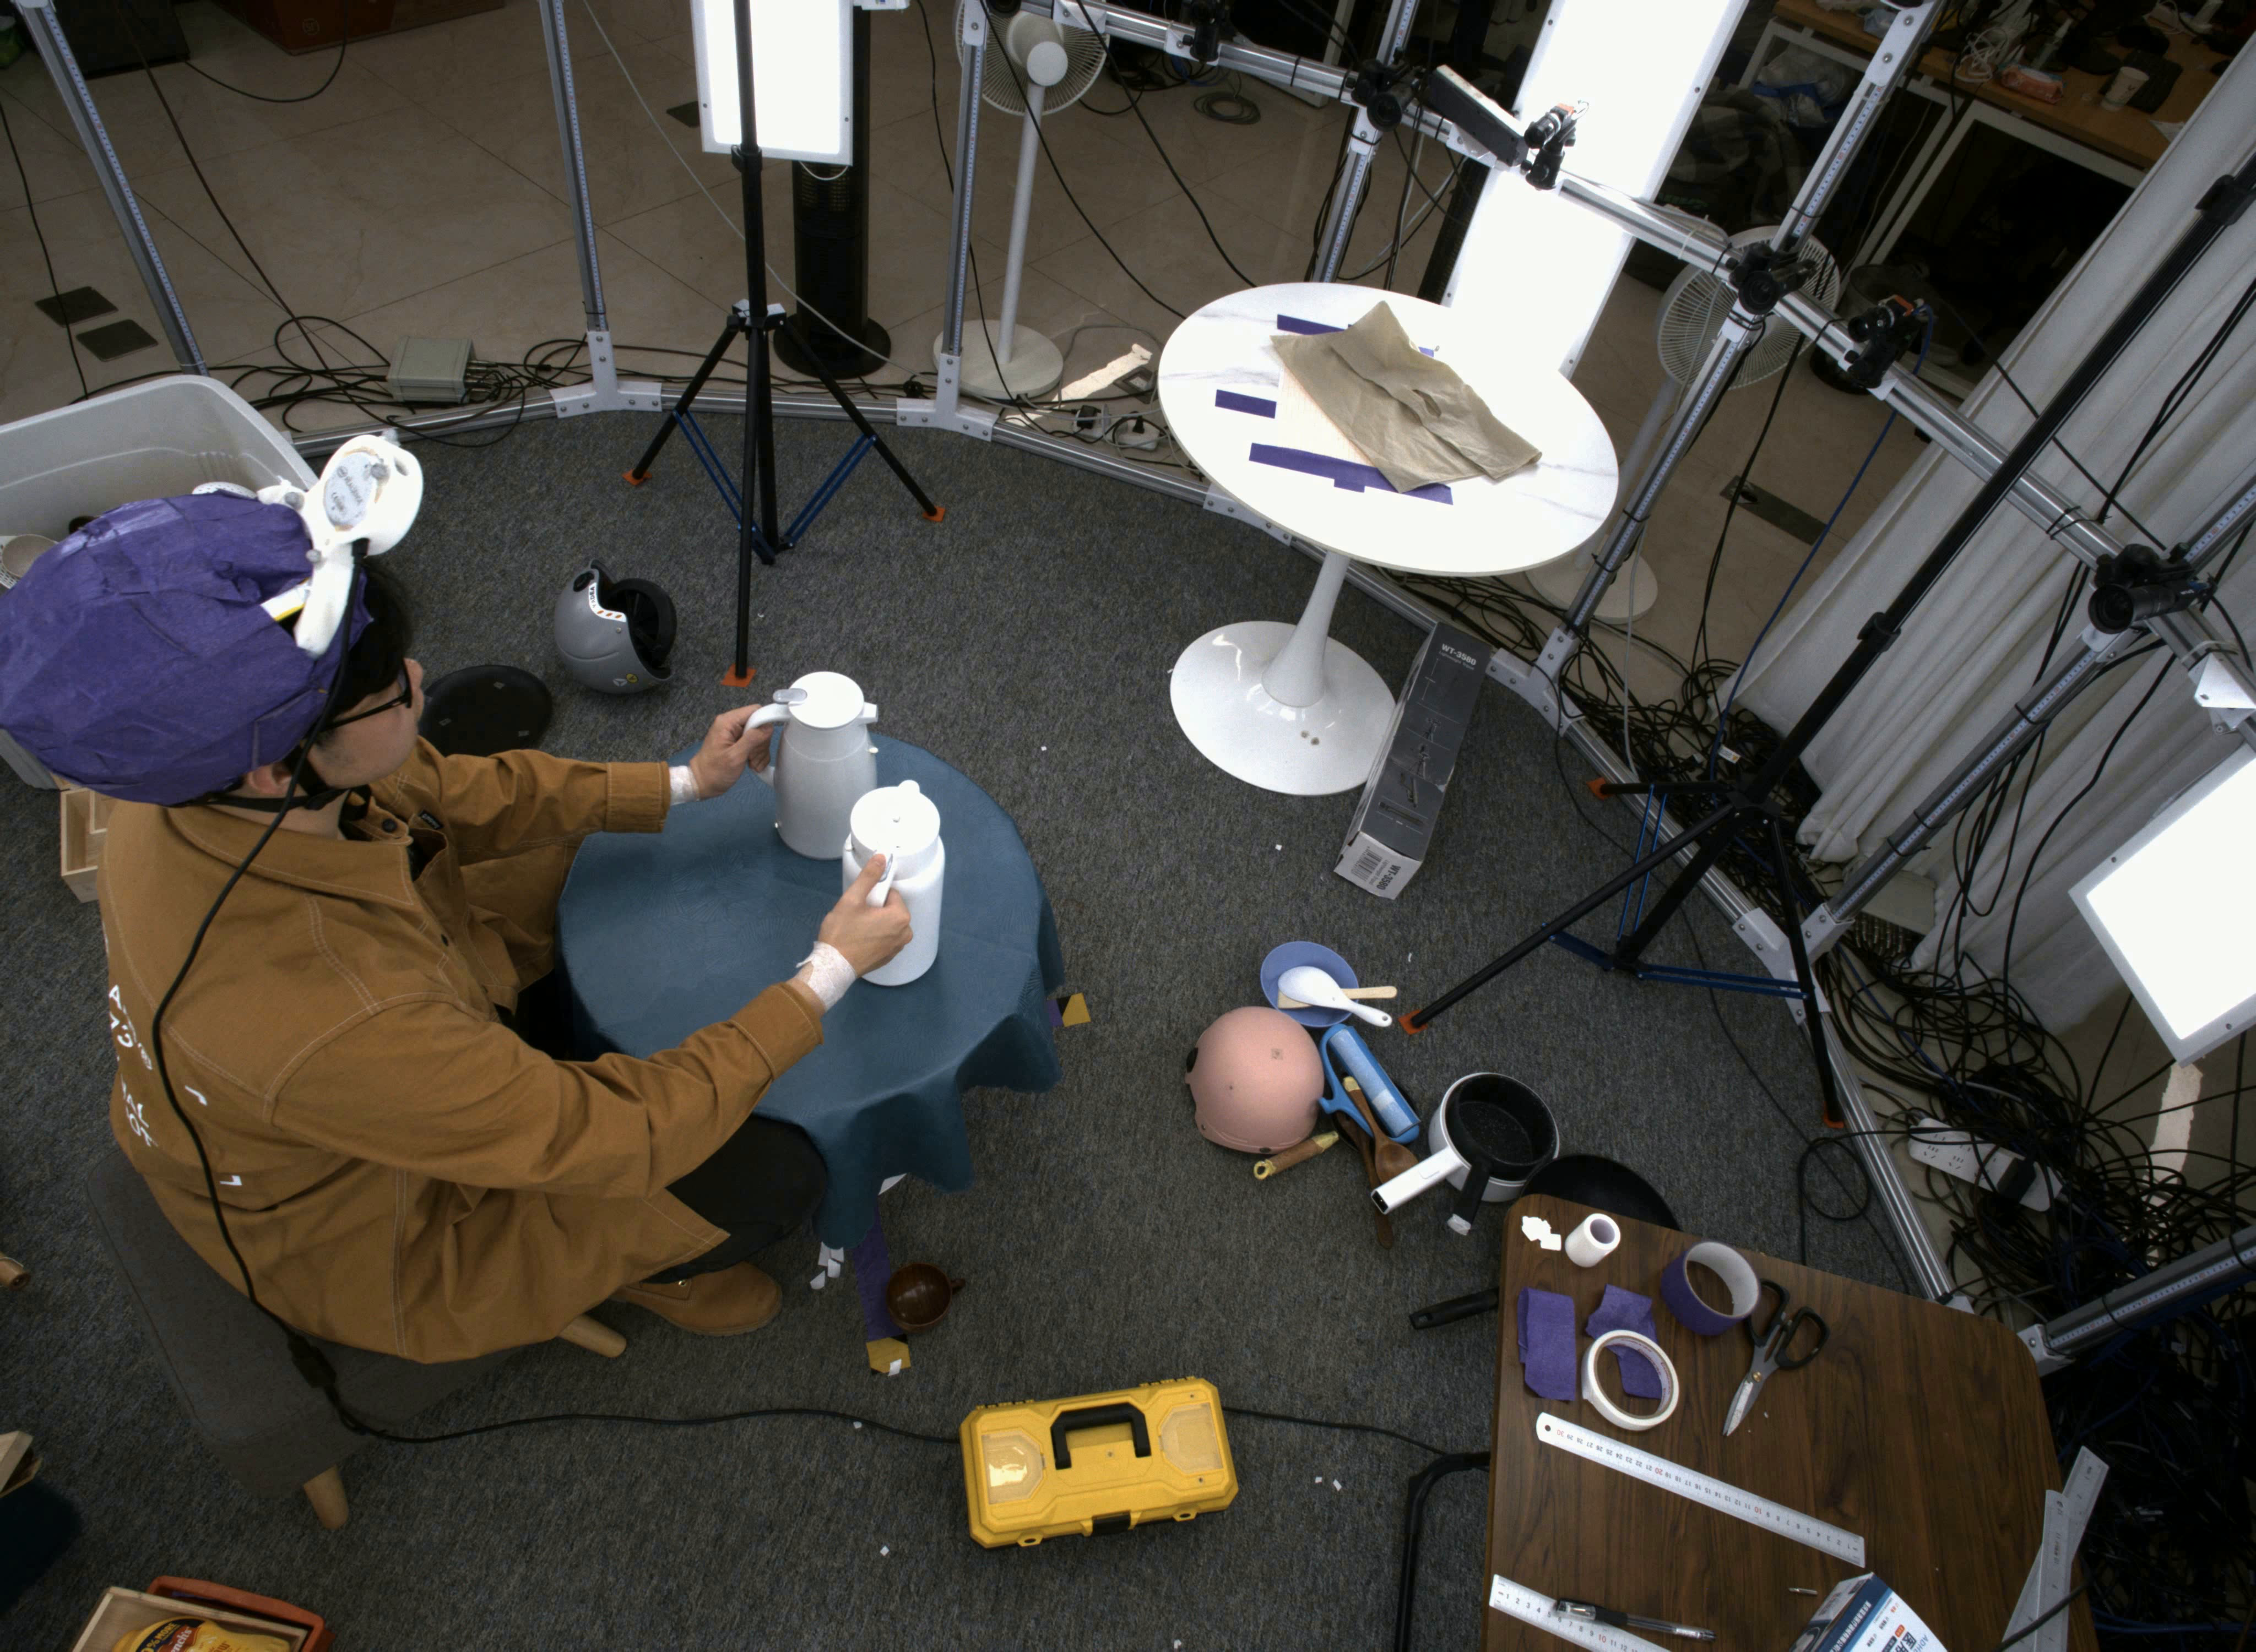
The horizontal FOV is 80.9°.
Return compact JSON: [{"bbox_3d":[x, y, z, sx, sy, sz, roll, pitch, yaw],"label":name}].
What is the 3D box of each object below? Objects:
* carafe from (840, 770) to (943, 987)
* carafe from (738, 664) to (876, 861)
[{"bbox_3d":[-0.280,0.083,1.523,0.123,0.274,0.170,14,50,-3],"label":"carafe"},{"bbox_3d":[-0.402,-0.085,1.630,0.167,0.254,0.130,1,52,-10],"label":"carafe"}]
